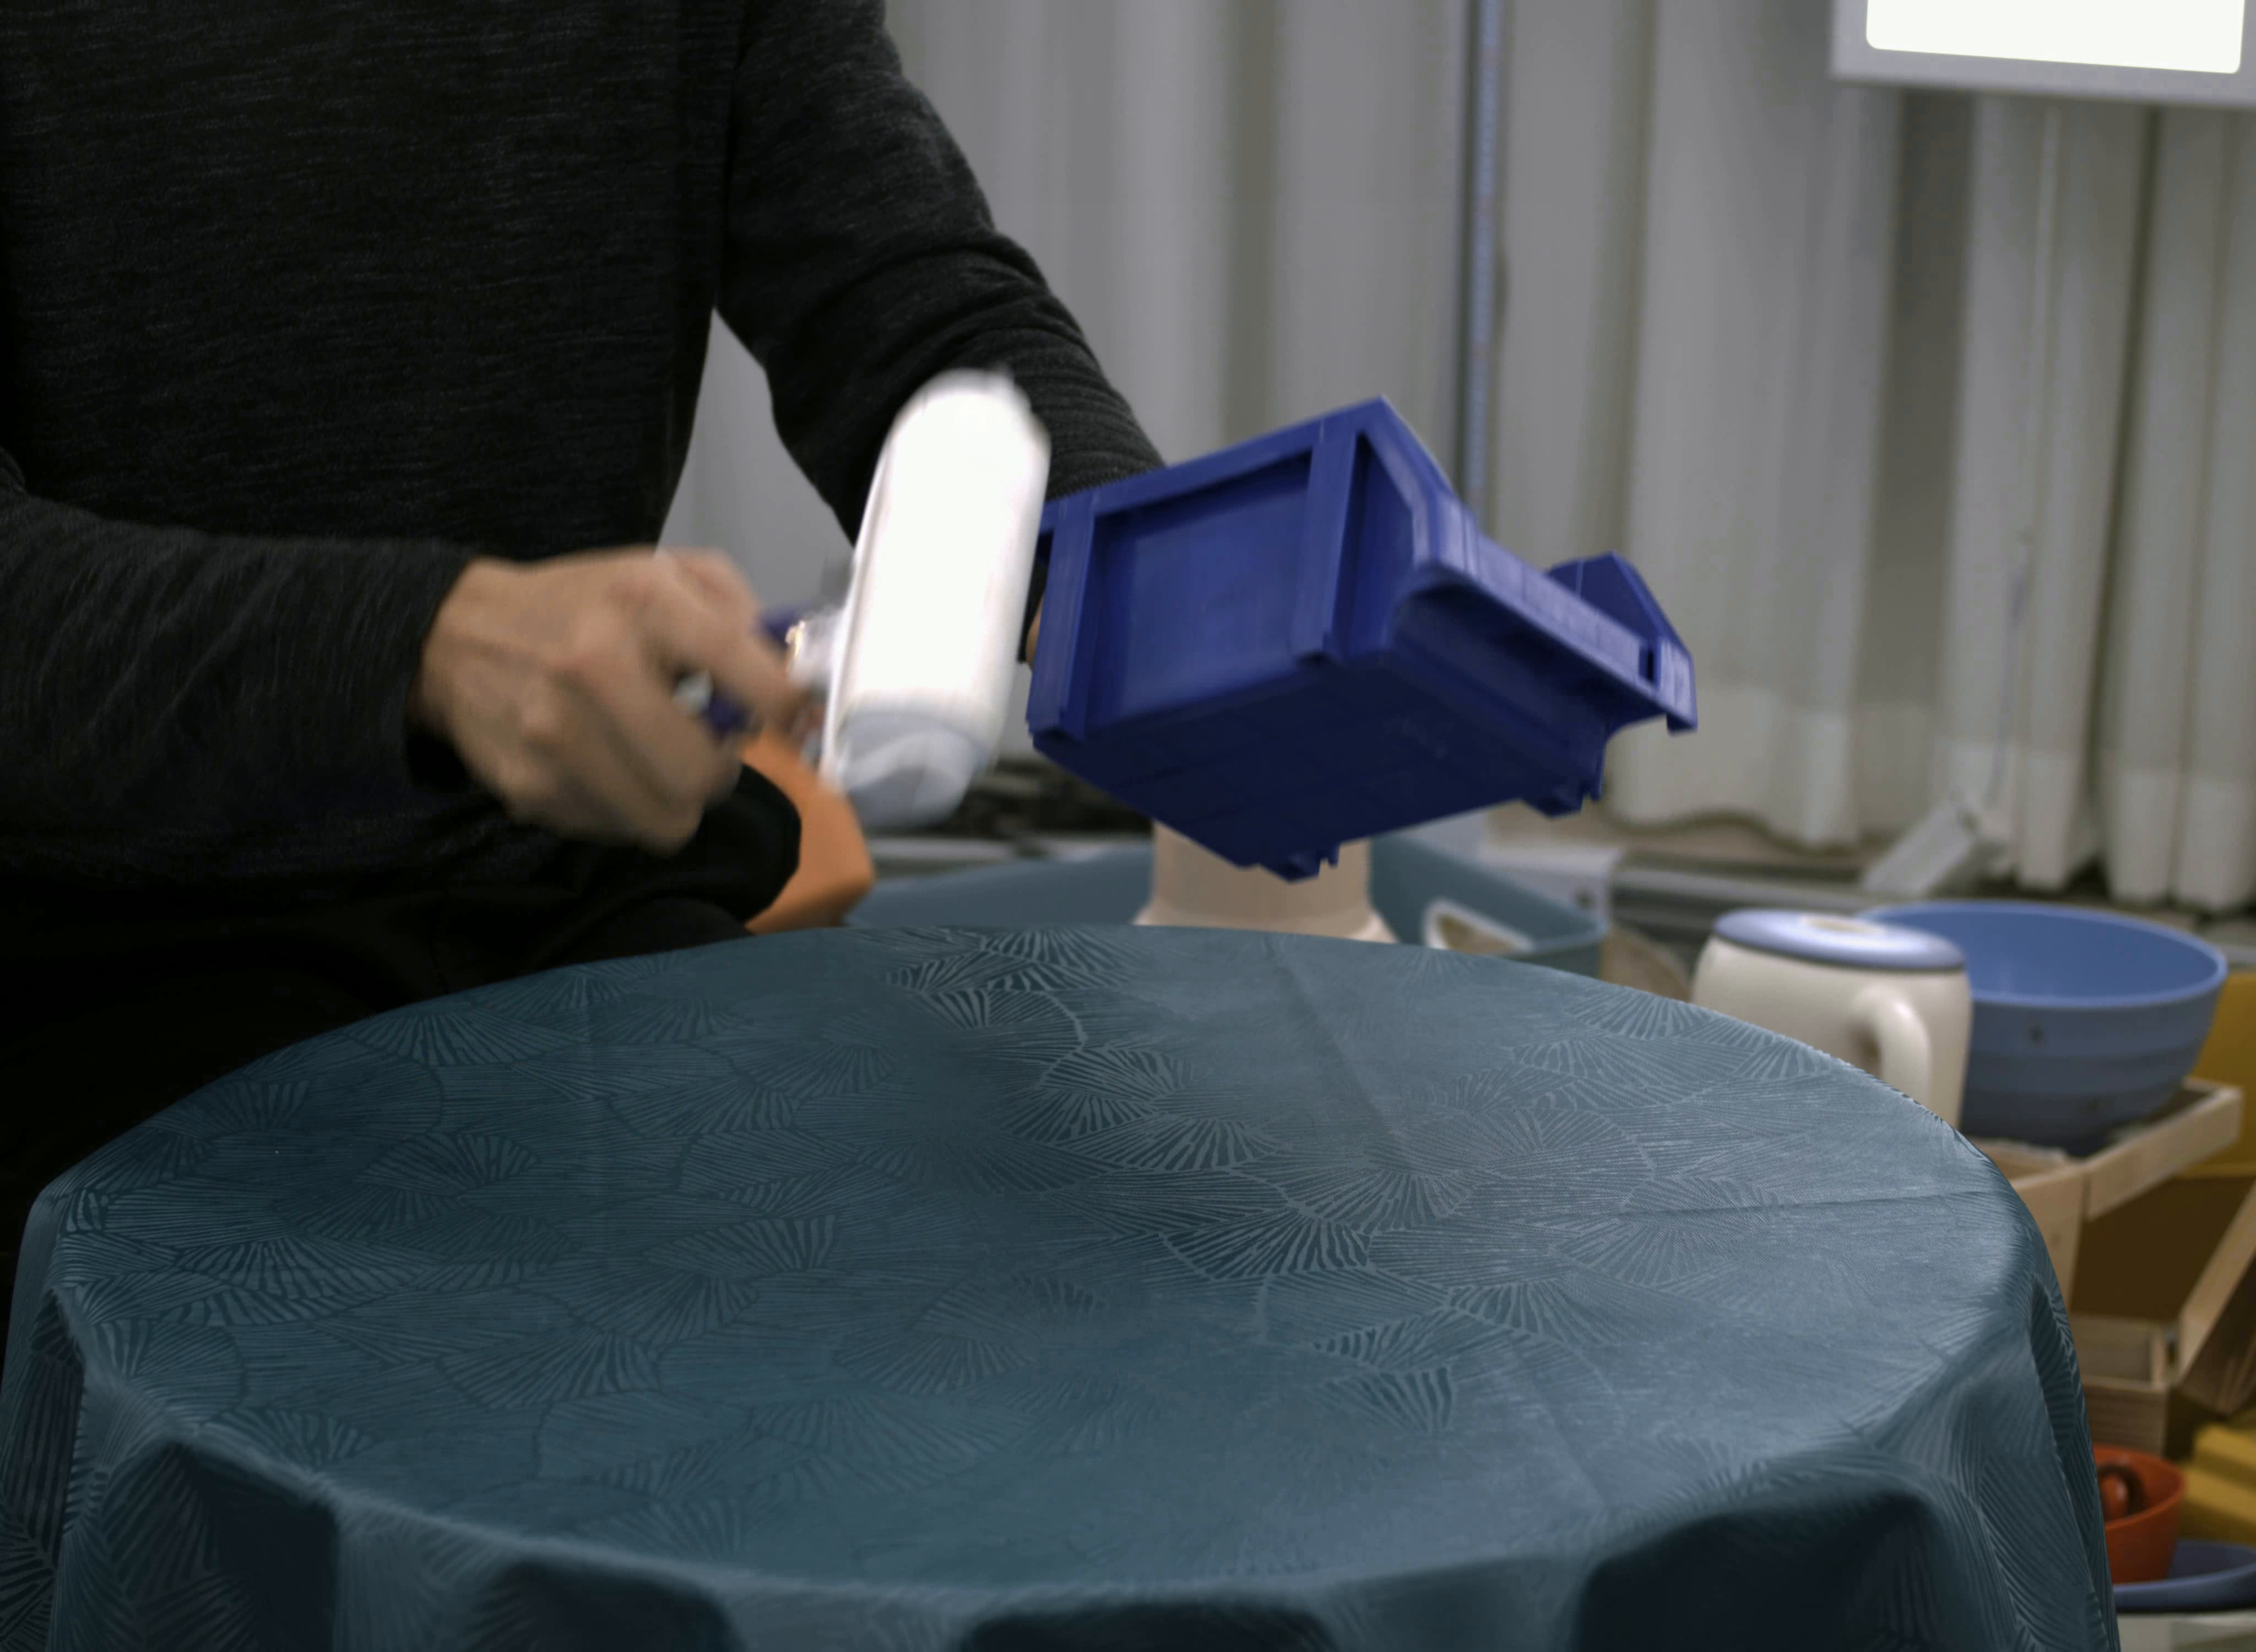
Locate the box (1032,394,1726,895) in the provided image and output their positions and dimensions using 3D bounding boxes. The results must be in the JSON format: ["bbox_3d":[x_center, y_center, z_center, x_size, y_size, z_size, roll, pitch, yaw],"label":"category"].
[{"bbox_3d":[0.073,-0.052,1.564,0.178,0.081,0.126,-18,-35,40],"label":"box"}]

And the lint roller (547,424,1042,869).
[{"bbox_3d":[-0.107,-0.042,1.496,0.179,0.132,0.051,-9,-33,34],"label":"lint roller"}]
